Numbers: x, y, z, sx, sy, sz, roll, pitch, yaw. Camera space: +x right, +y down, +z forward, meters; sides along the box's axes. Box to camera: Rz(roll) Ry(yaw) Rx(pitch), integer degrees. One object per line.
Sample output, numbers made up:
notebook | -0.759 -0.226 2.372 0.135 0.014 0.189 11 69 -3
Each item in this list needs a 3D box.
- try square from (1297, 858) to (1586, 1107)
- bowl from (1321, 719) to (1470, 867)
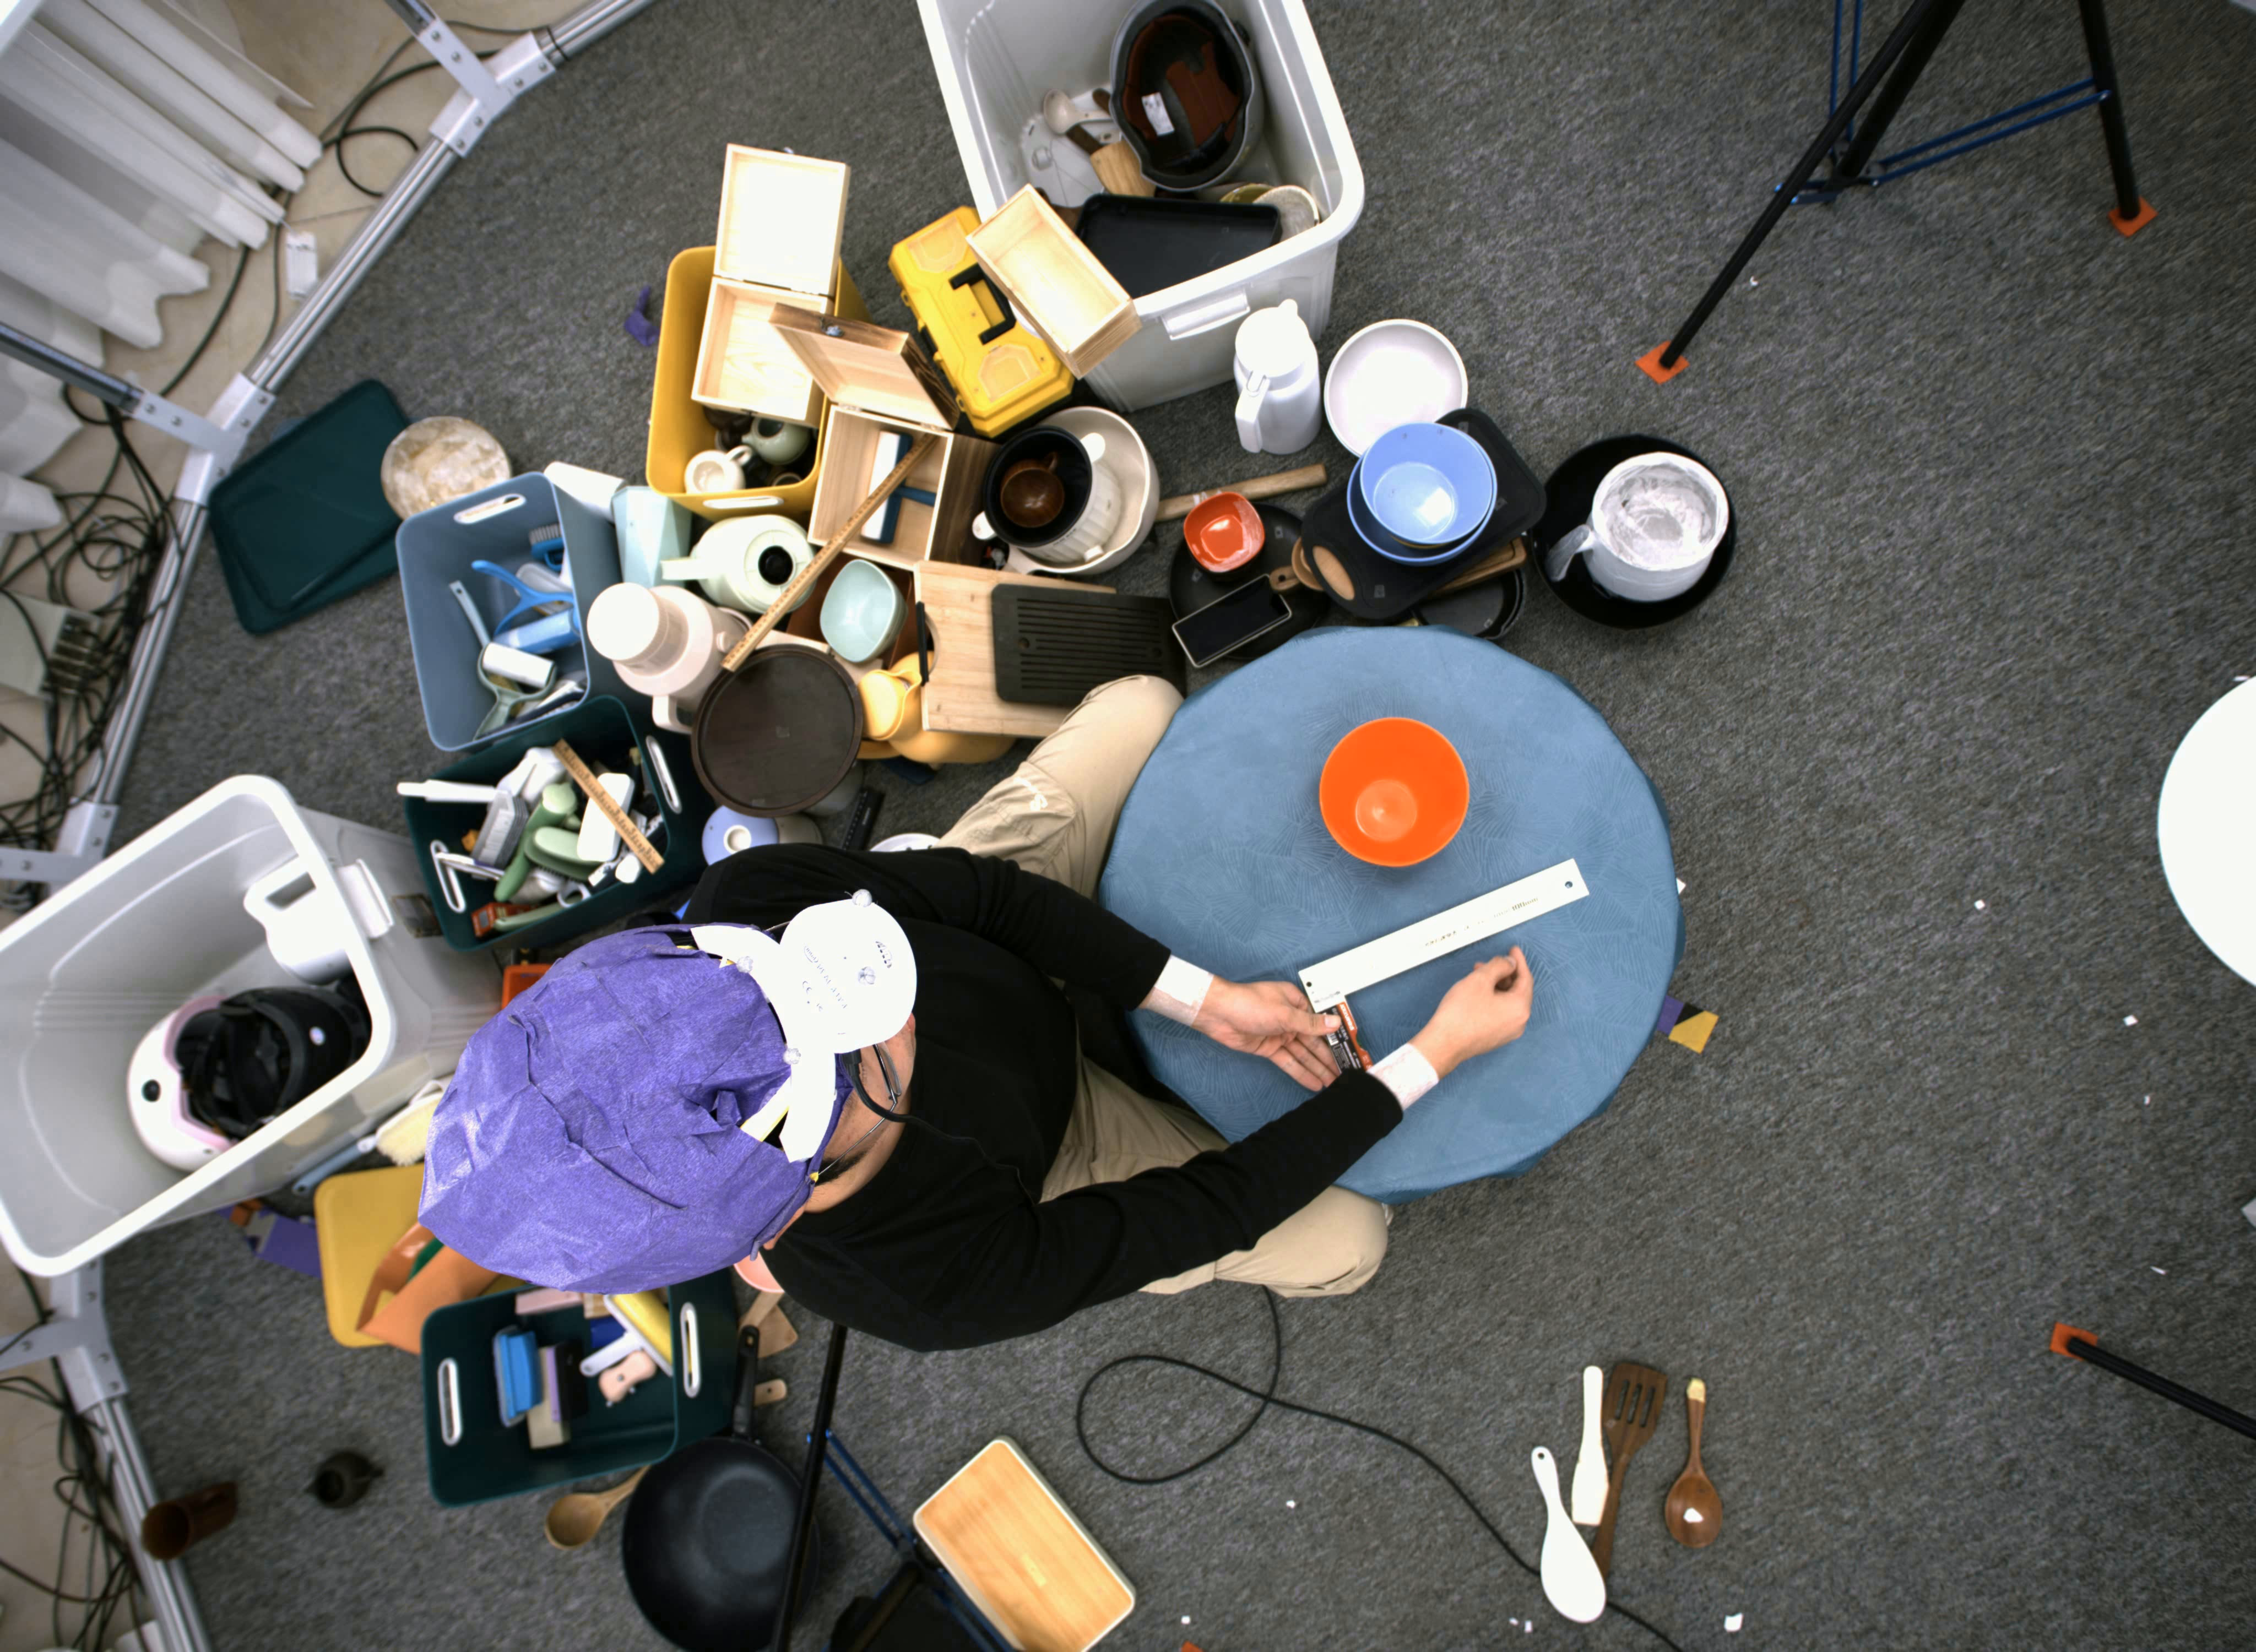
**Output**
try square | 0.345 0.160 1.430 0.314 0.016 0.151 -23 85 4
bowl | 0.273 -0.030 1.415 0.148 0.104 0.147 -1 87 10
